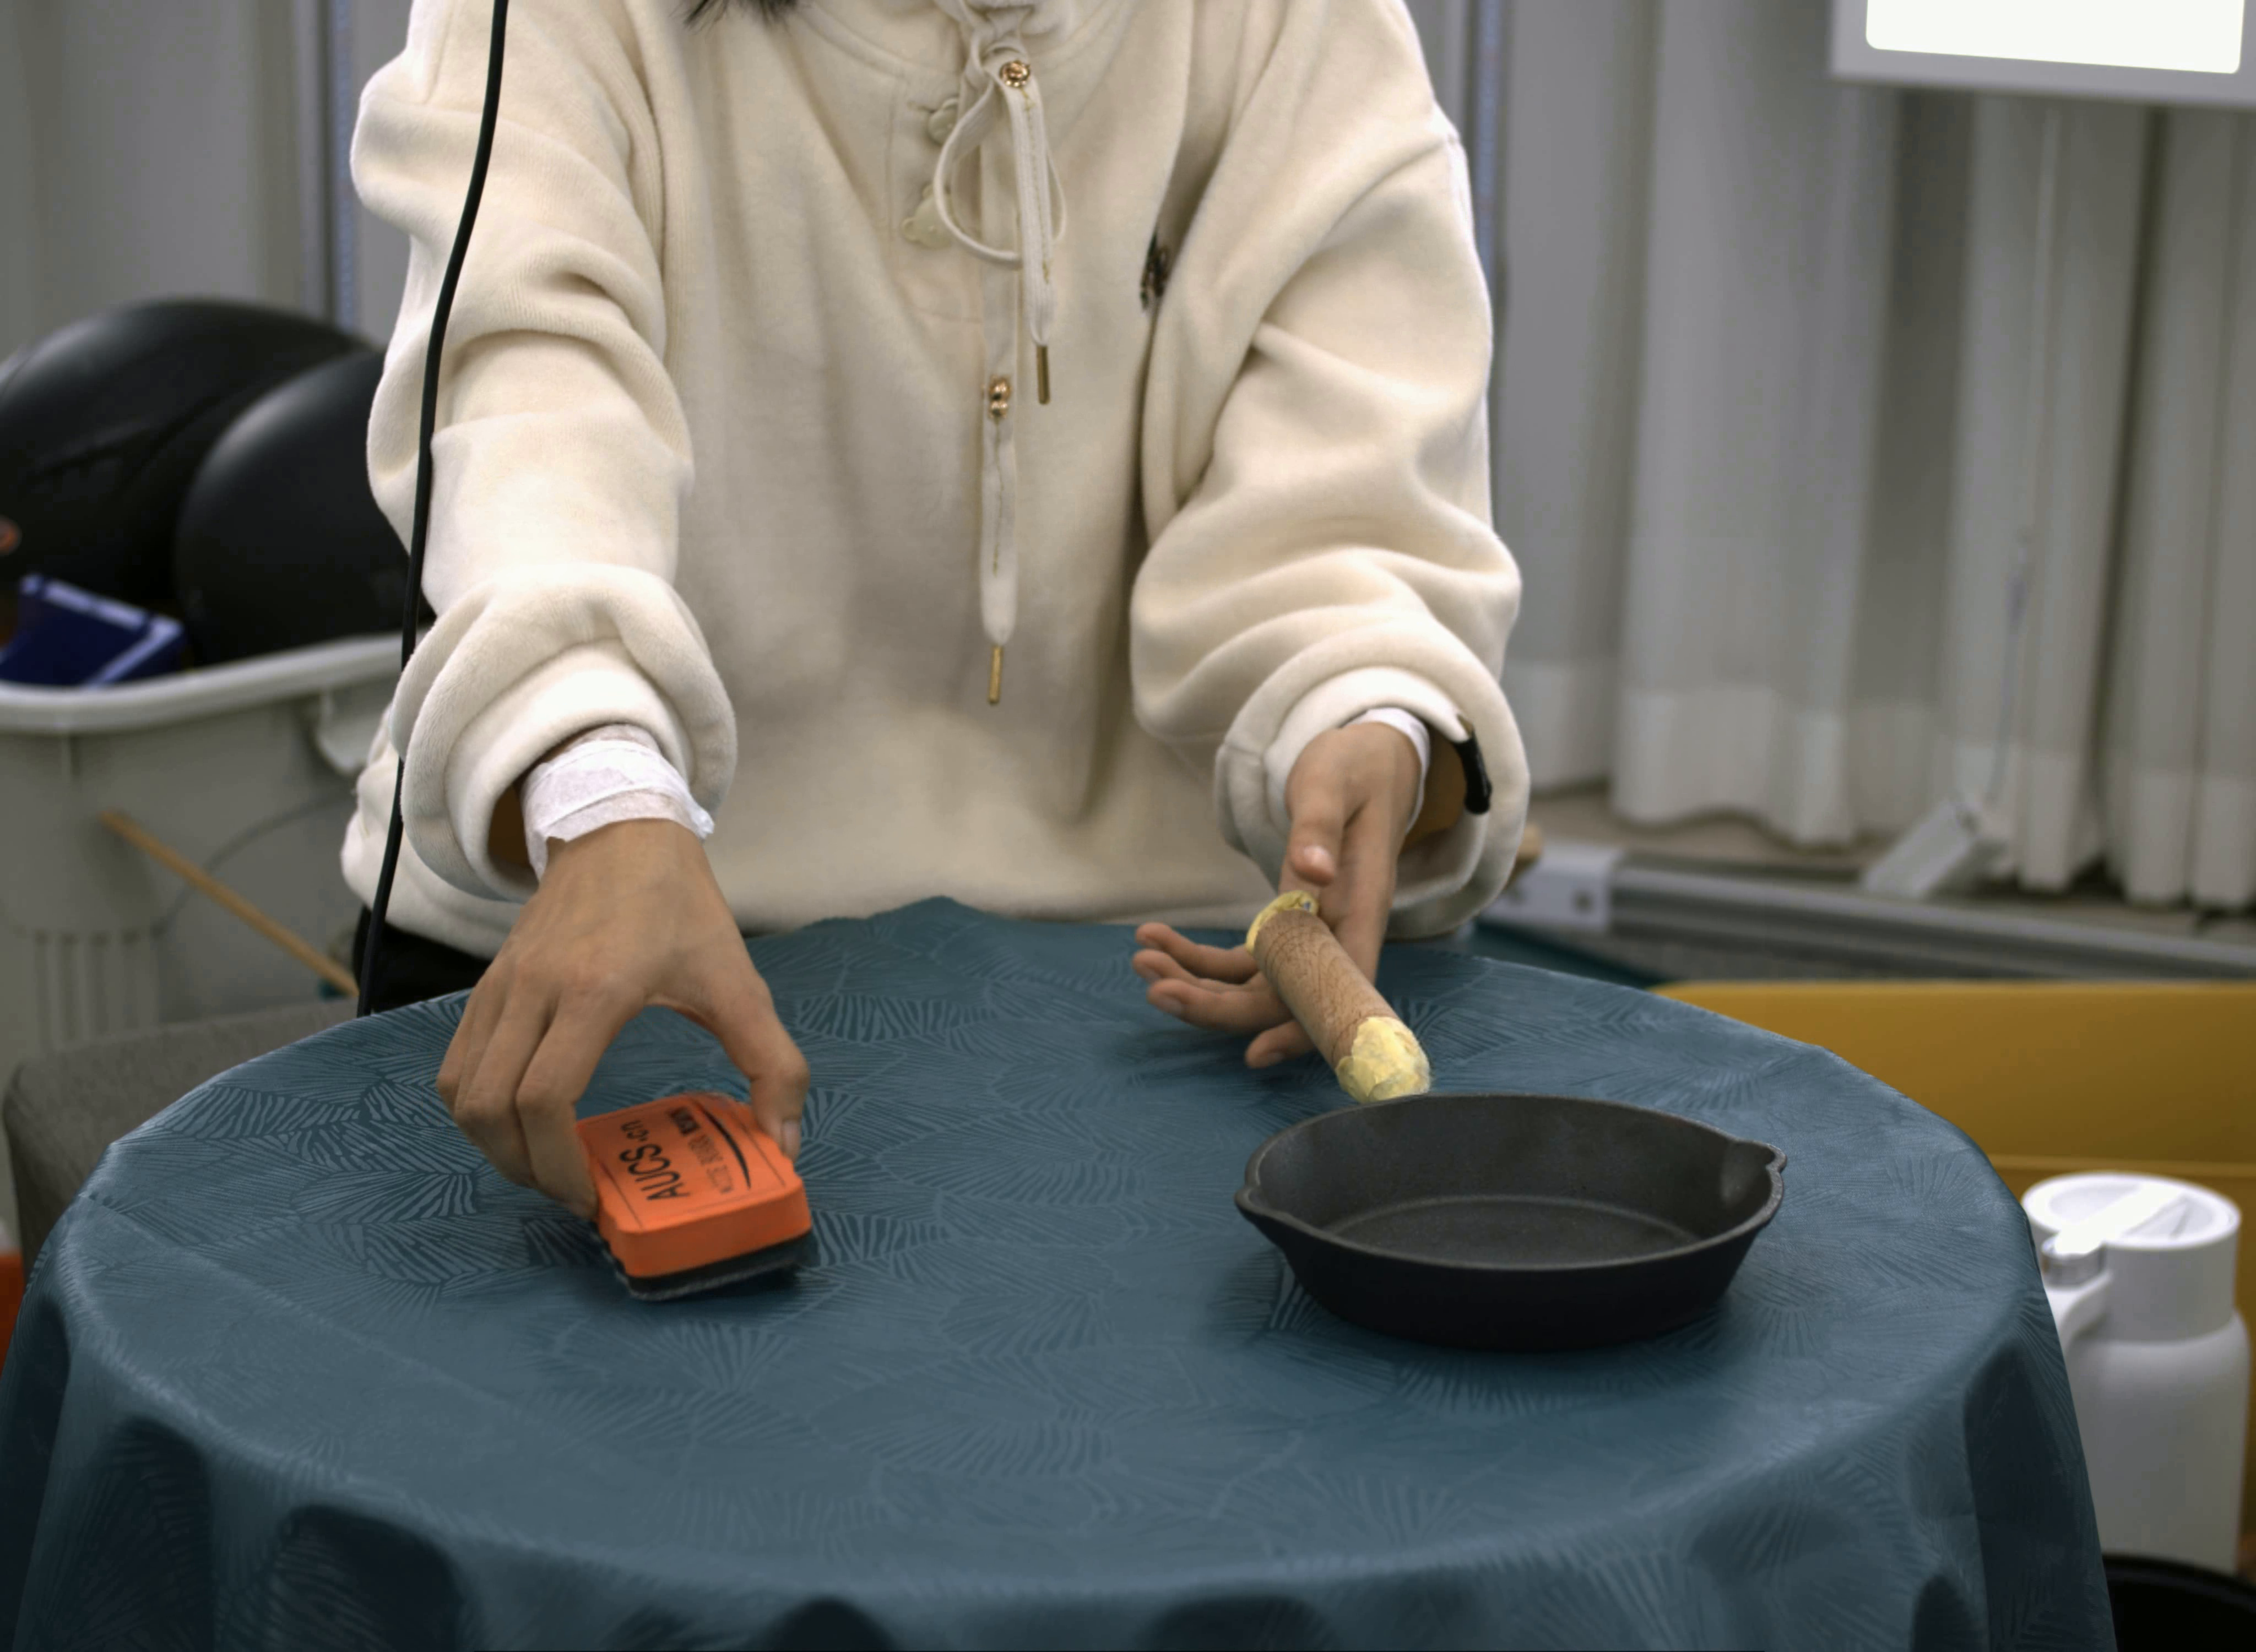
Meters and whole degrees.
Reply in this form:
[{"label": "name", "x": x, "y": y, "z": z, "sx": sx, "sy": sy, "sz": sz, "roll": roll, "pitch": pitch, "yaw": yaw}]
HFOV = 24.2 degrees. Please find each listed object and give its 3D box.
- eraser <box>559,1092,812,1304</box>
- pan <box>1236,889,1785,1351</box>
[{"label": "eraser", "x": -0.133, "y": 0.110, "z": 1.570, "sx": 0.059, "sy": 0.023, "sz": 0.107, "roll": -12, "pitch": 18, "yaw": -14}, {"label": "pan", "x": 0.091, "y": 0.087, "z": 1.621, "sx": 0.169, "sy": 0.050, "sz": 0.321, "roll": -4, "pitch": 17, "yaw": -14}]
